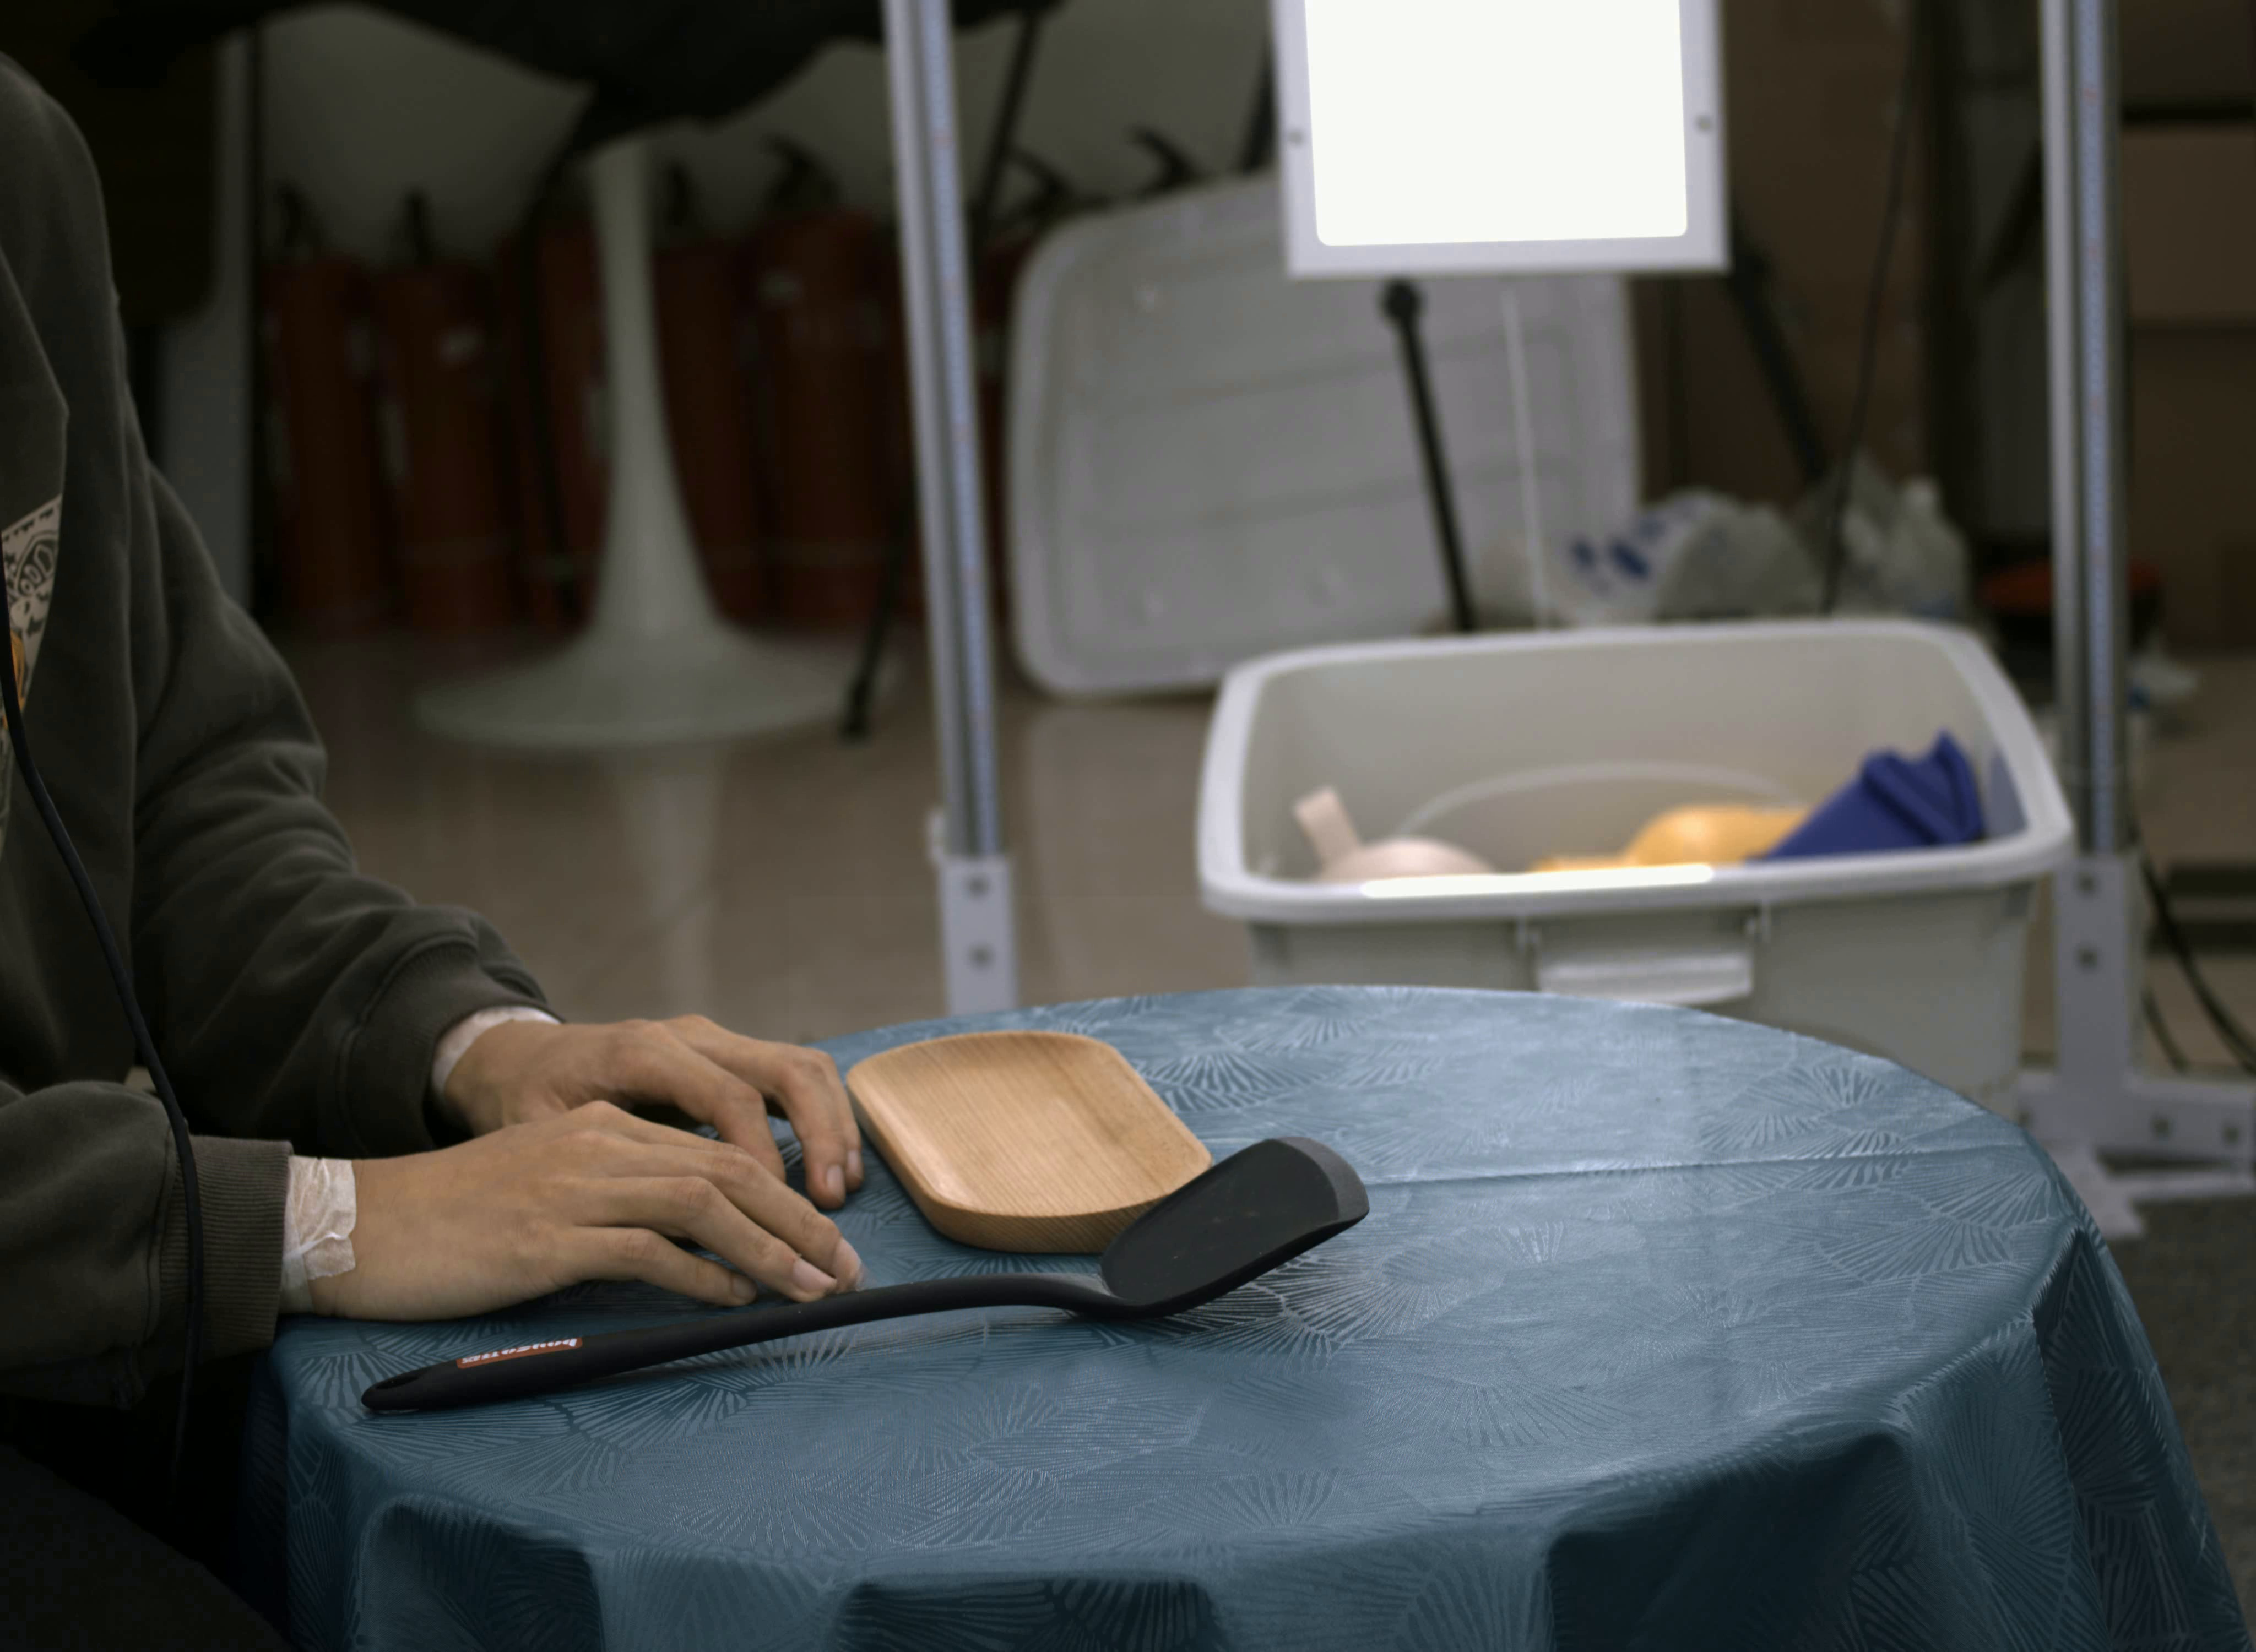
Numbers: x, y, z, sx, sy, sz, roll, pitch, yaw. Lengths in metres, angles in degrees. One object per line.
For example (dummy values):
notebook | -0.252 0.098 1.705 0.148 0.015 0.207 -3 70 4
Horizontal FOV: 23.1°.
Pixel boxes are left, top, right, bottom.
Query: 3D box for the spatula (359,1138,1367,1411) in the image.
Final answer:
spatula | -0.085 0.148 1.763 0.323 0.040 0.100 -7 13 -8

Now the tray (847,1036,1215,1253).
tray | -0.036 0.111 1.941 0.100 0.020 0.233 -9 15 -12
